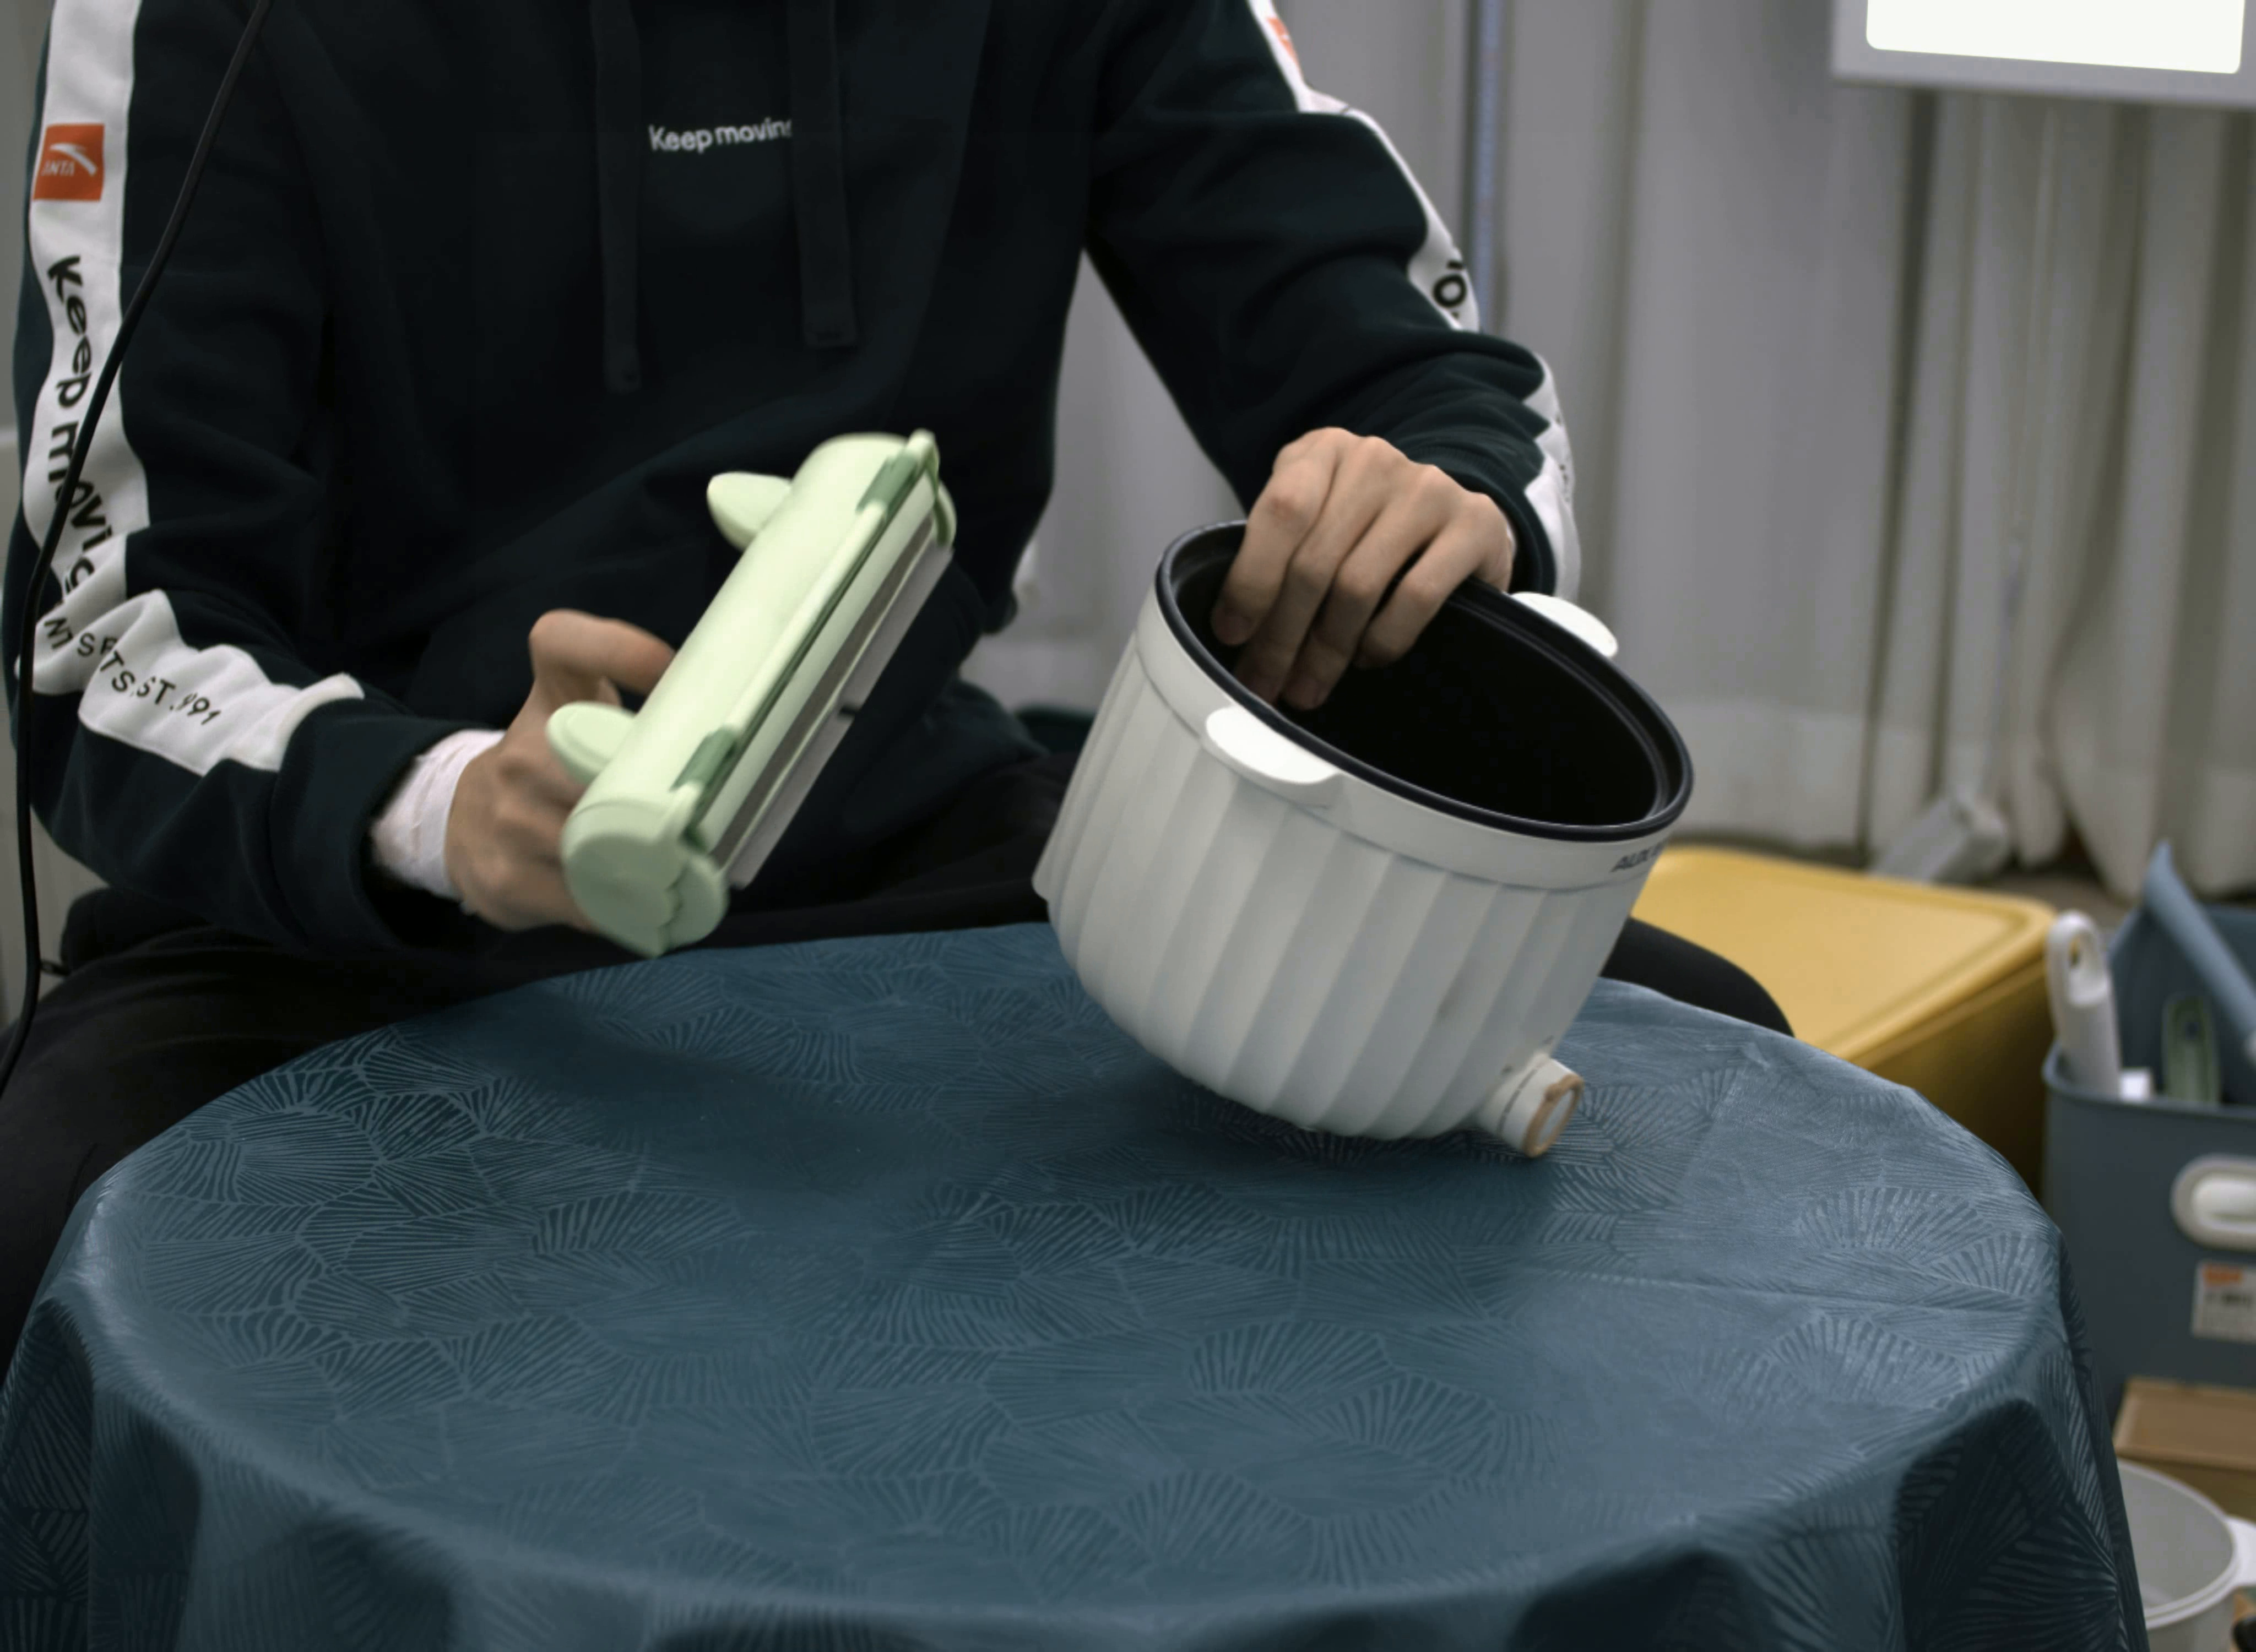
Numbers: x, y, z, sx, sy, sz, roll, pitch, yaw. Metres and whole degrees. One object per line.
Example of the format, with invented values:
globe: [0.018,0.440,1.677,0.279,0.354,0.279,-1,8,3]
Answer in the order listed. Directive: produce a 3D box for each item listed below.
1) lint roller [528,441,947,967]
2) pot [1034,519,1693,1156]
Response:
lint roller: [-0.153,-0.027,1.642,0.182,0.083,0.198,-29,23,43]
pot: [0.074,0.010,1.662,0.188,0.143,0.241,30,26,20]
